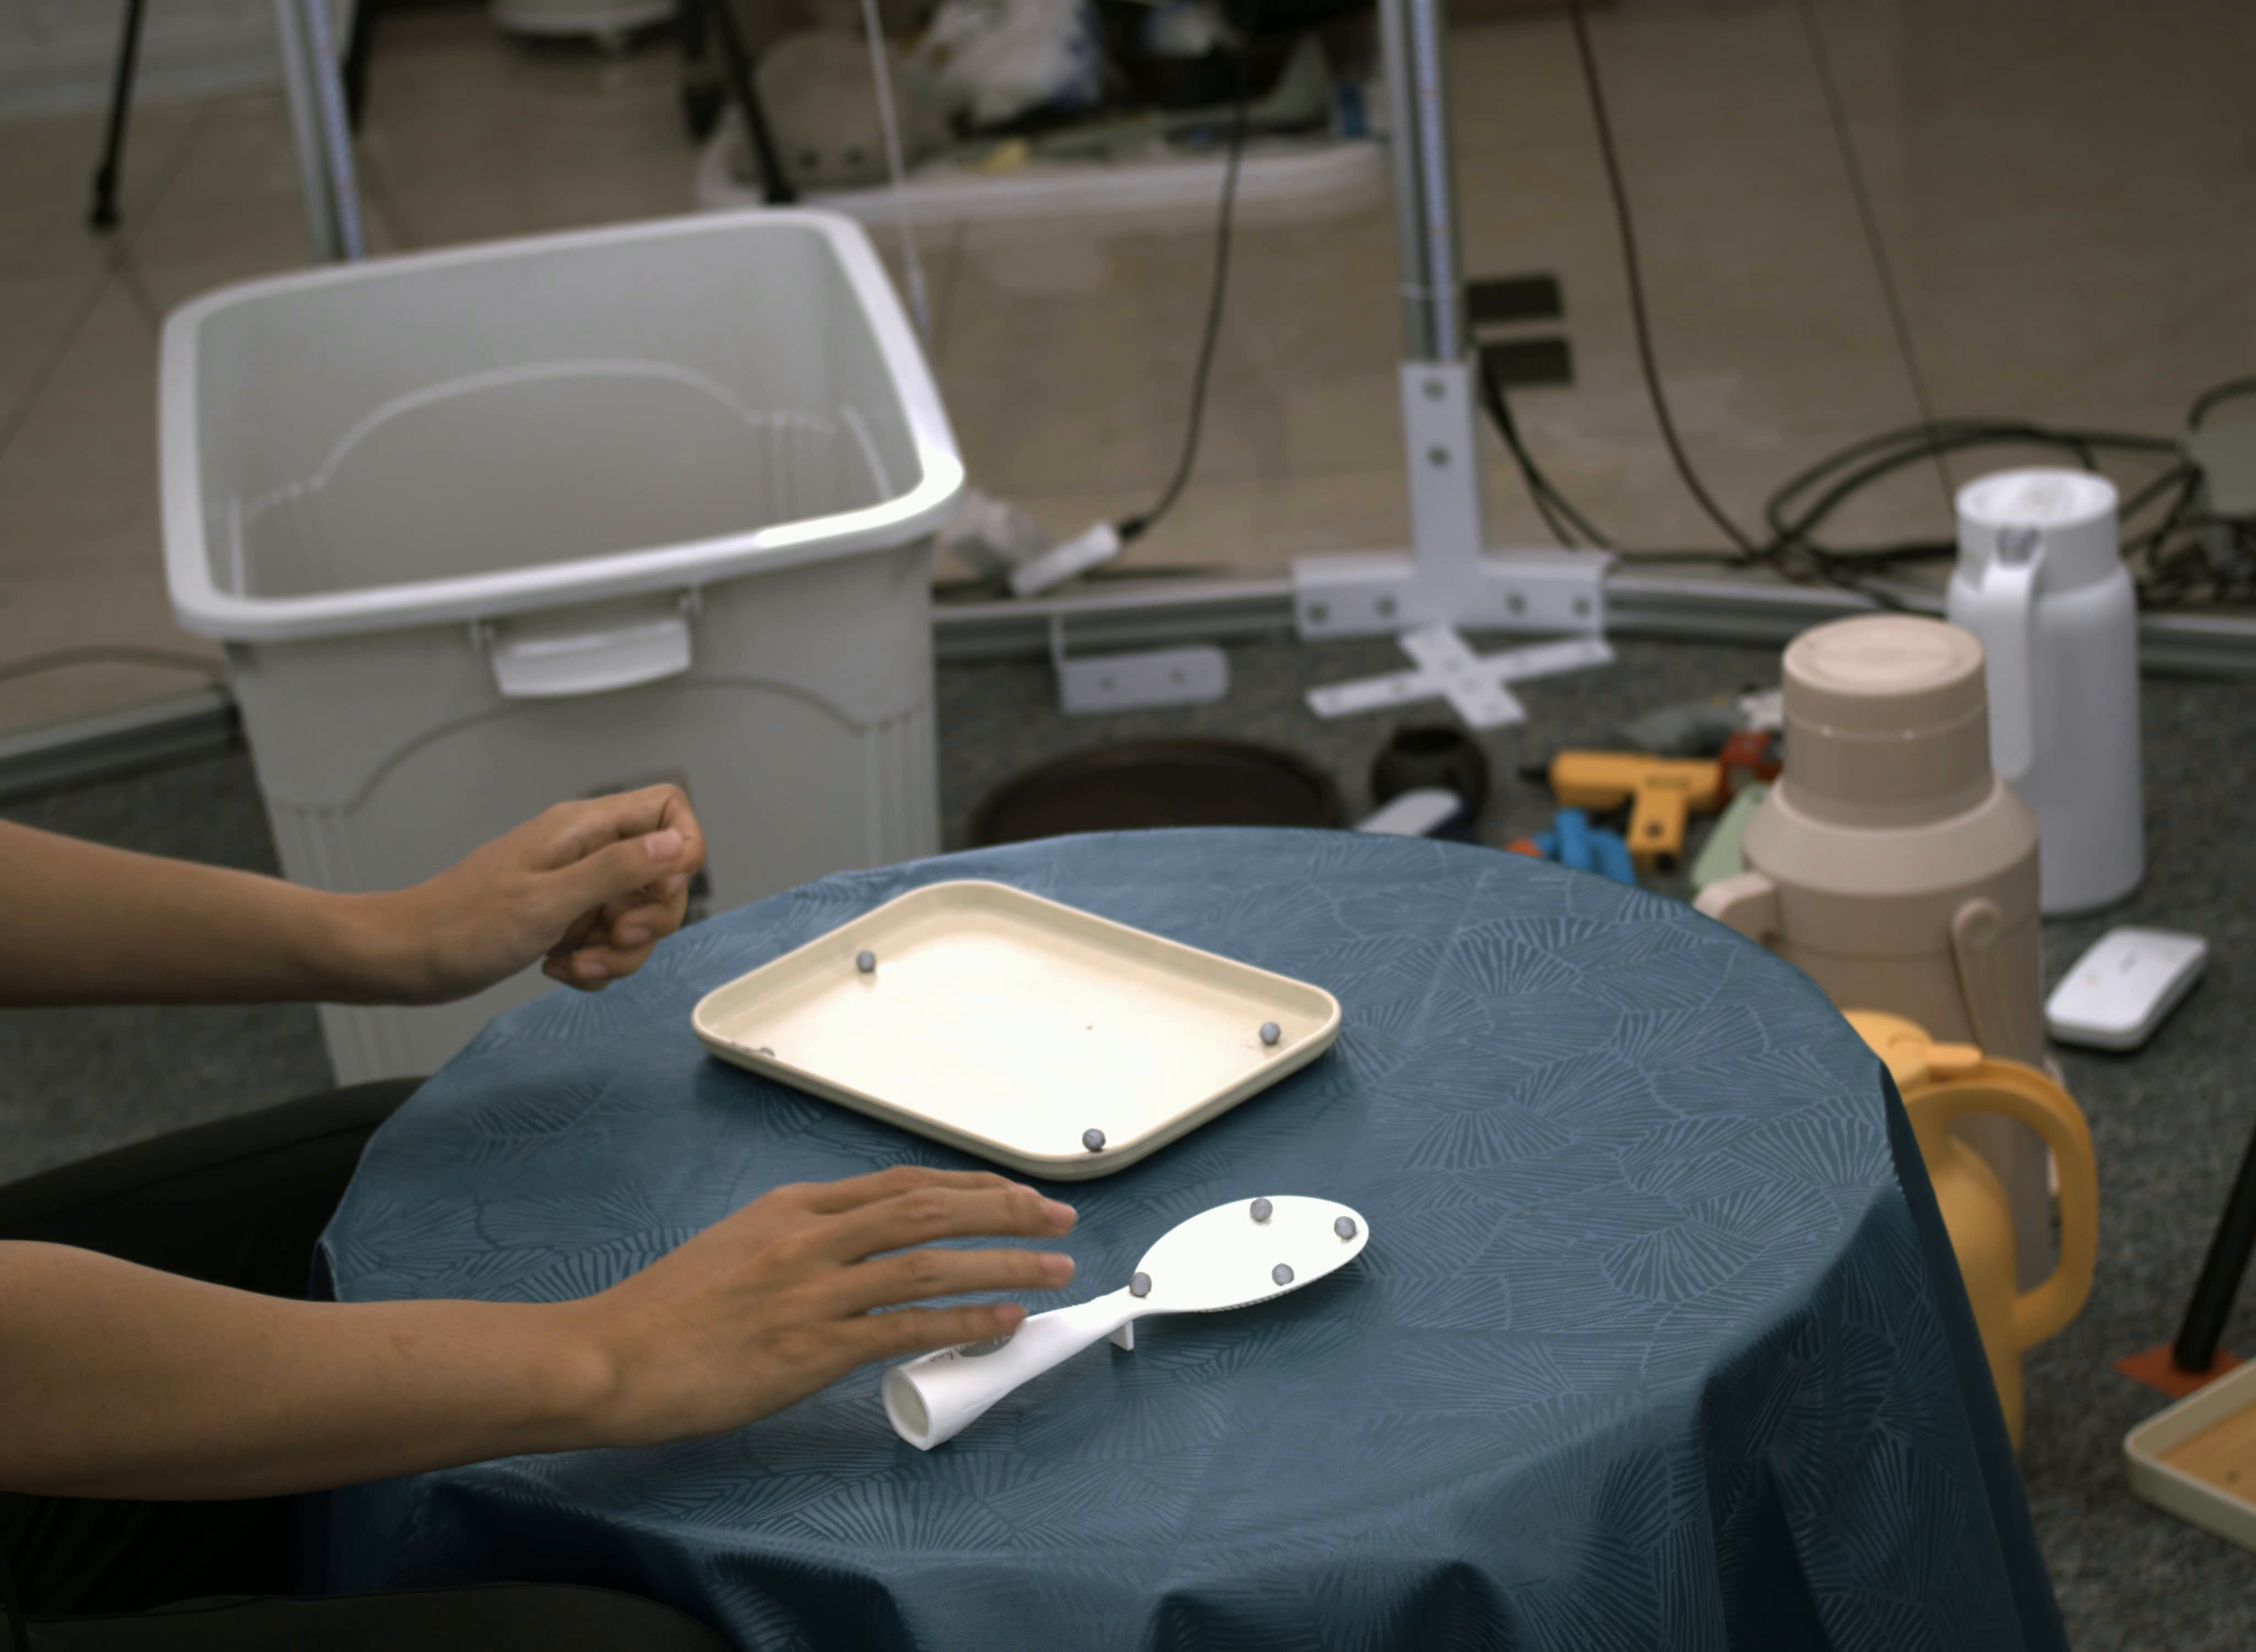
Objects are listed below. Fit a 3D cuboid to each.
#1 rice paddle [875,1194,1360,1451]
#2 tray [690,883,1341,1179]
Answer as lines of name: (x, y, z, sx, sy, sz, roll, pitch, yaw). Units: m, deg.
rice paddle: (-0.001, 0.172, 2.044, 0.204, 0.030, 0.068, -22, 31, -32)
tray: (-0.046, 0.081, 2.267, 0.238, 0.018, 0.170, 17, 33, 41)
